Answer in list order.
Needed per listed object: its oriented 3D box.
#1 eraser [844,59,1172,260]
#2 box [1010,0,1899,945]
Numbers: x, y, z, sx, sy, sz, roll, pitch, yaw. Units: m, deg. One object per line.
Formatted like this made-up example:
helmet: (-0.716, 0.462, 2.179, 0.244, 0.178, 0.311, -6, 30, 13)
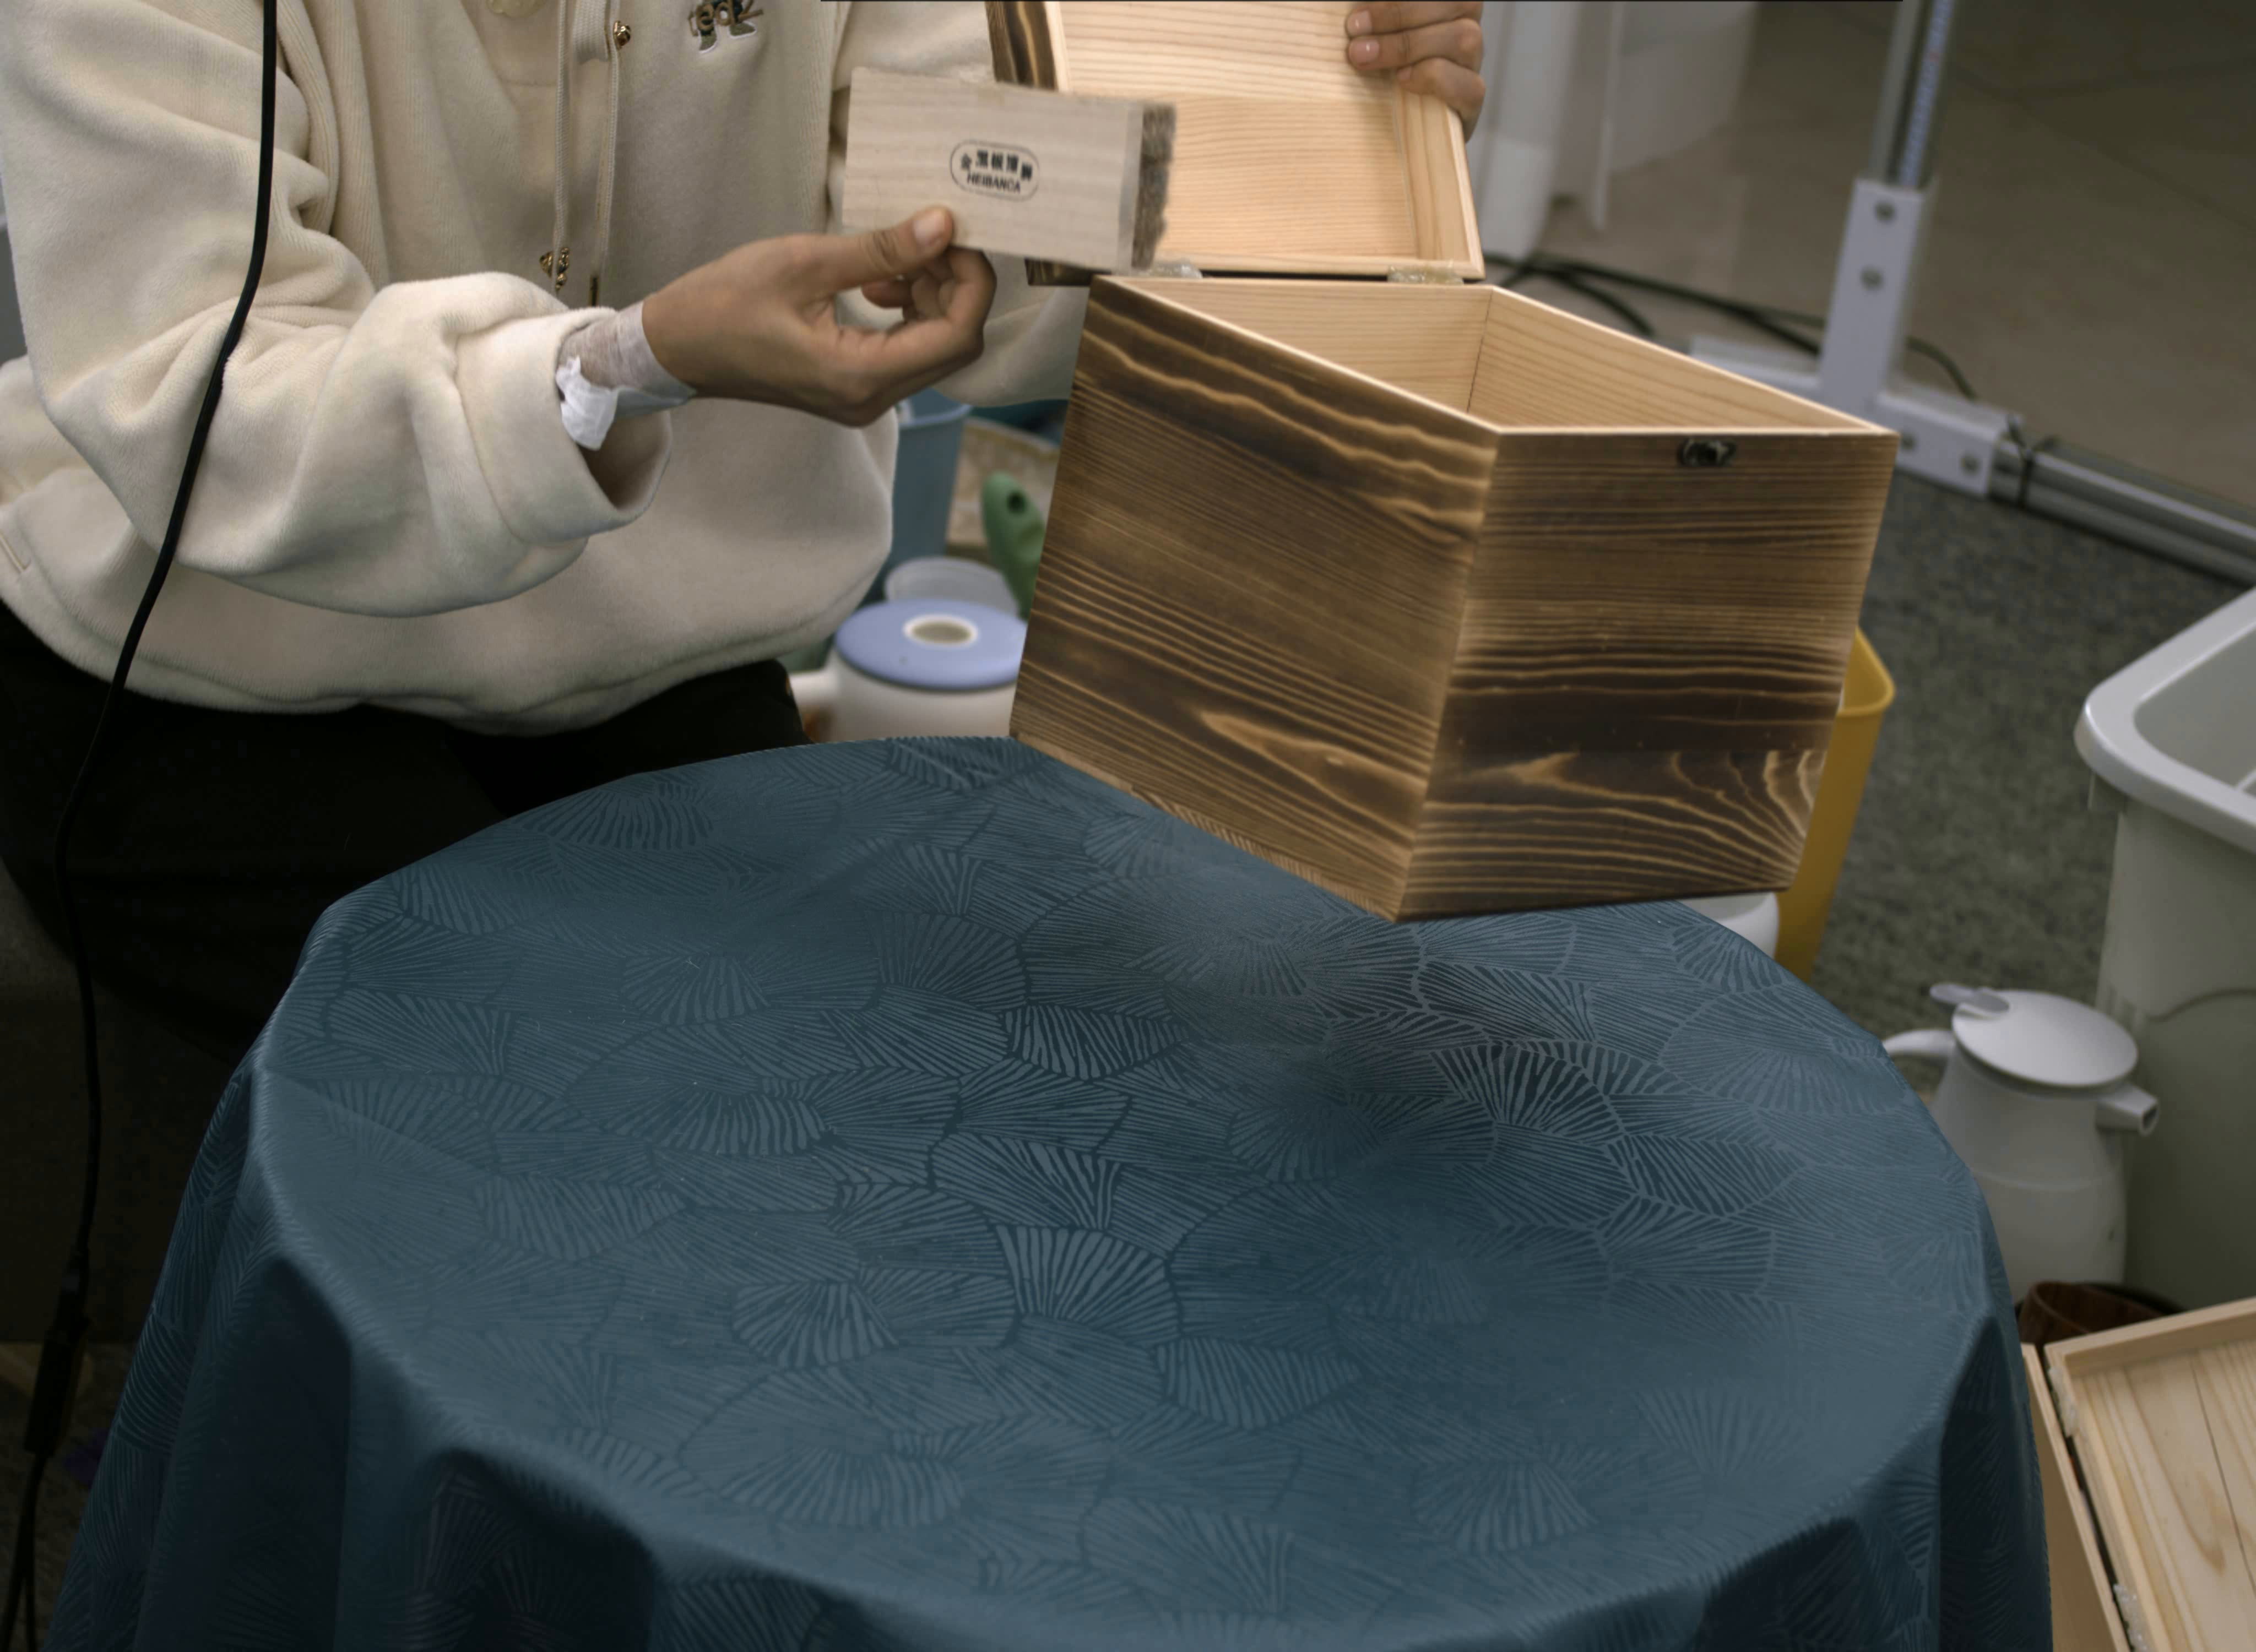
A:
eraser: (-0.042, -0.231, 1.844, 0.029, 0.057, 0.140, -4, 13, -43)
box: (0.094, -0.192, 1.859, 0.207, 0.375, 0.325, -5, 23, -43)
